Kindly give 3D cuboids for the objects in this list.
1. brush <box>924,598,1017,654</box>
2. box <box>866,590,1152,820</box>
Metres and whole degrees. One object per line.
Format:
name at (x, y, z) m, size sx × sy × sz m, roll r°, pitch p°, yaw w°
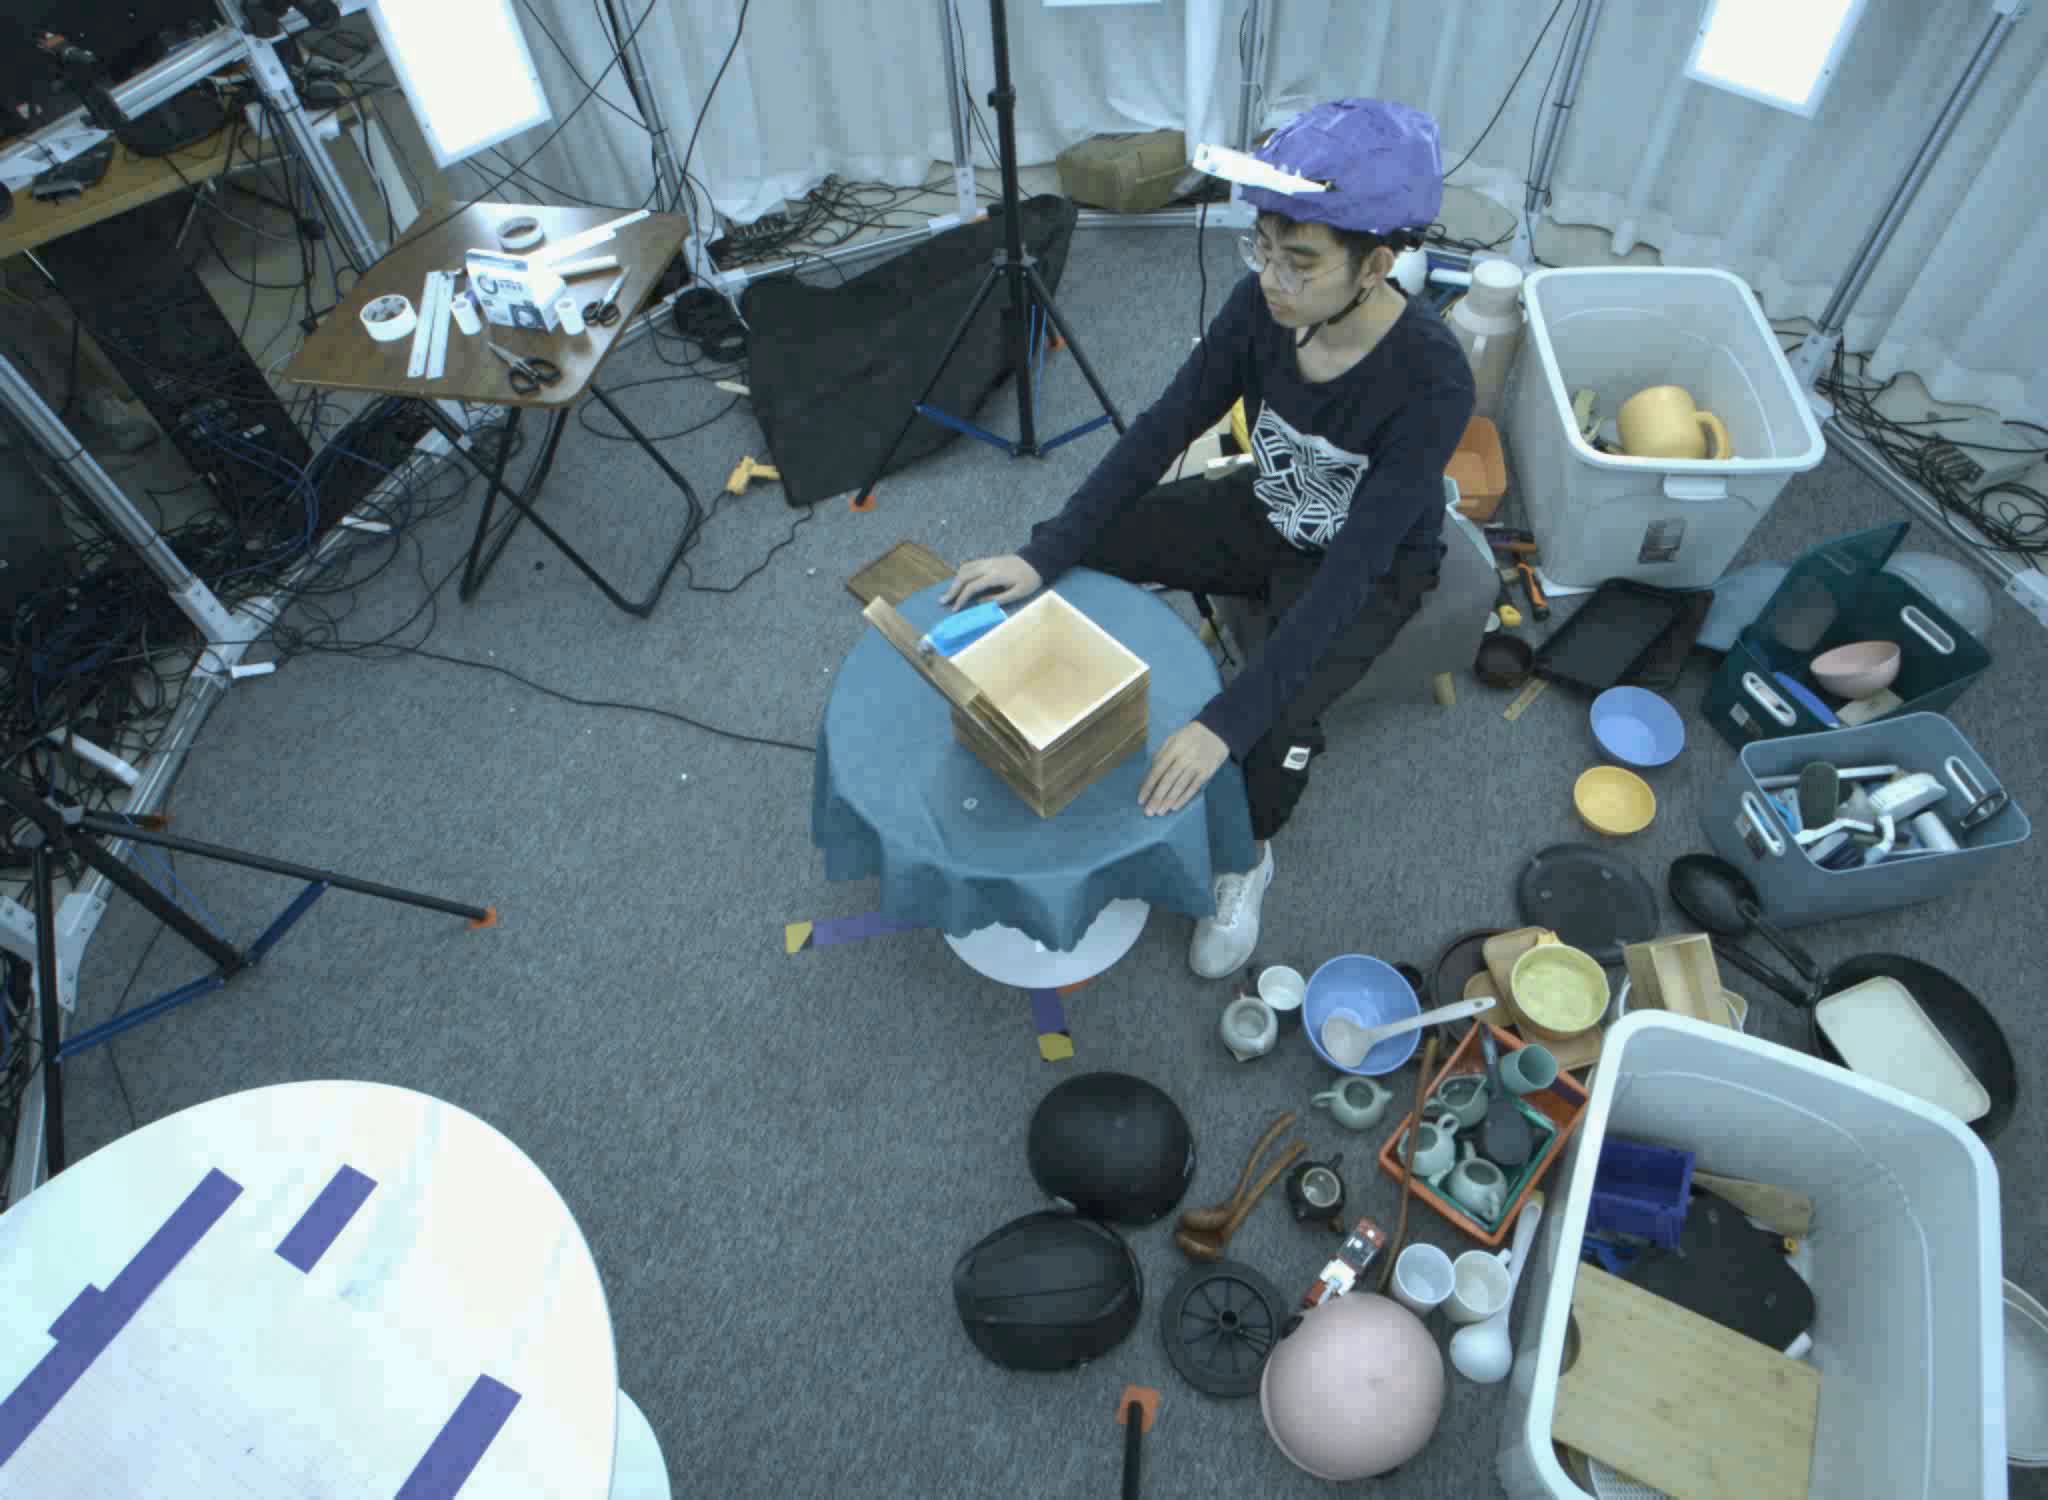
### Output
brush at (-0.080, -0.191, 1.882) m, size 0.145 × 0.056 × 0.082 m, roll -22°, pitch 59°, yaw -11°
box at (-0.010, -0.091, 1.622) m, size 0.324 × 0.379 × 0.205 m, roll -37°, pitch 61°, yaw -21°
